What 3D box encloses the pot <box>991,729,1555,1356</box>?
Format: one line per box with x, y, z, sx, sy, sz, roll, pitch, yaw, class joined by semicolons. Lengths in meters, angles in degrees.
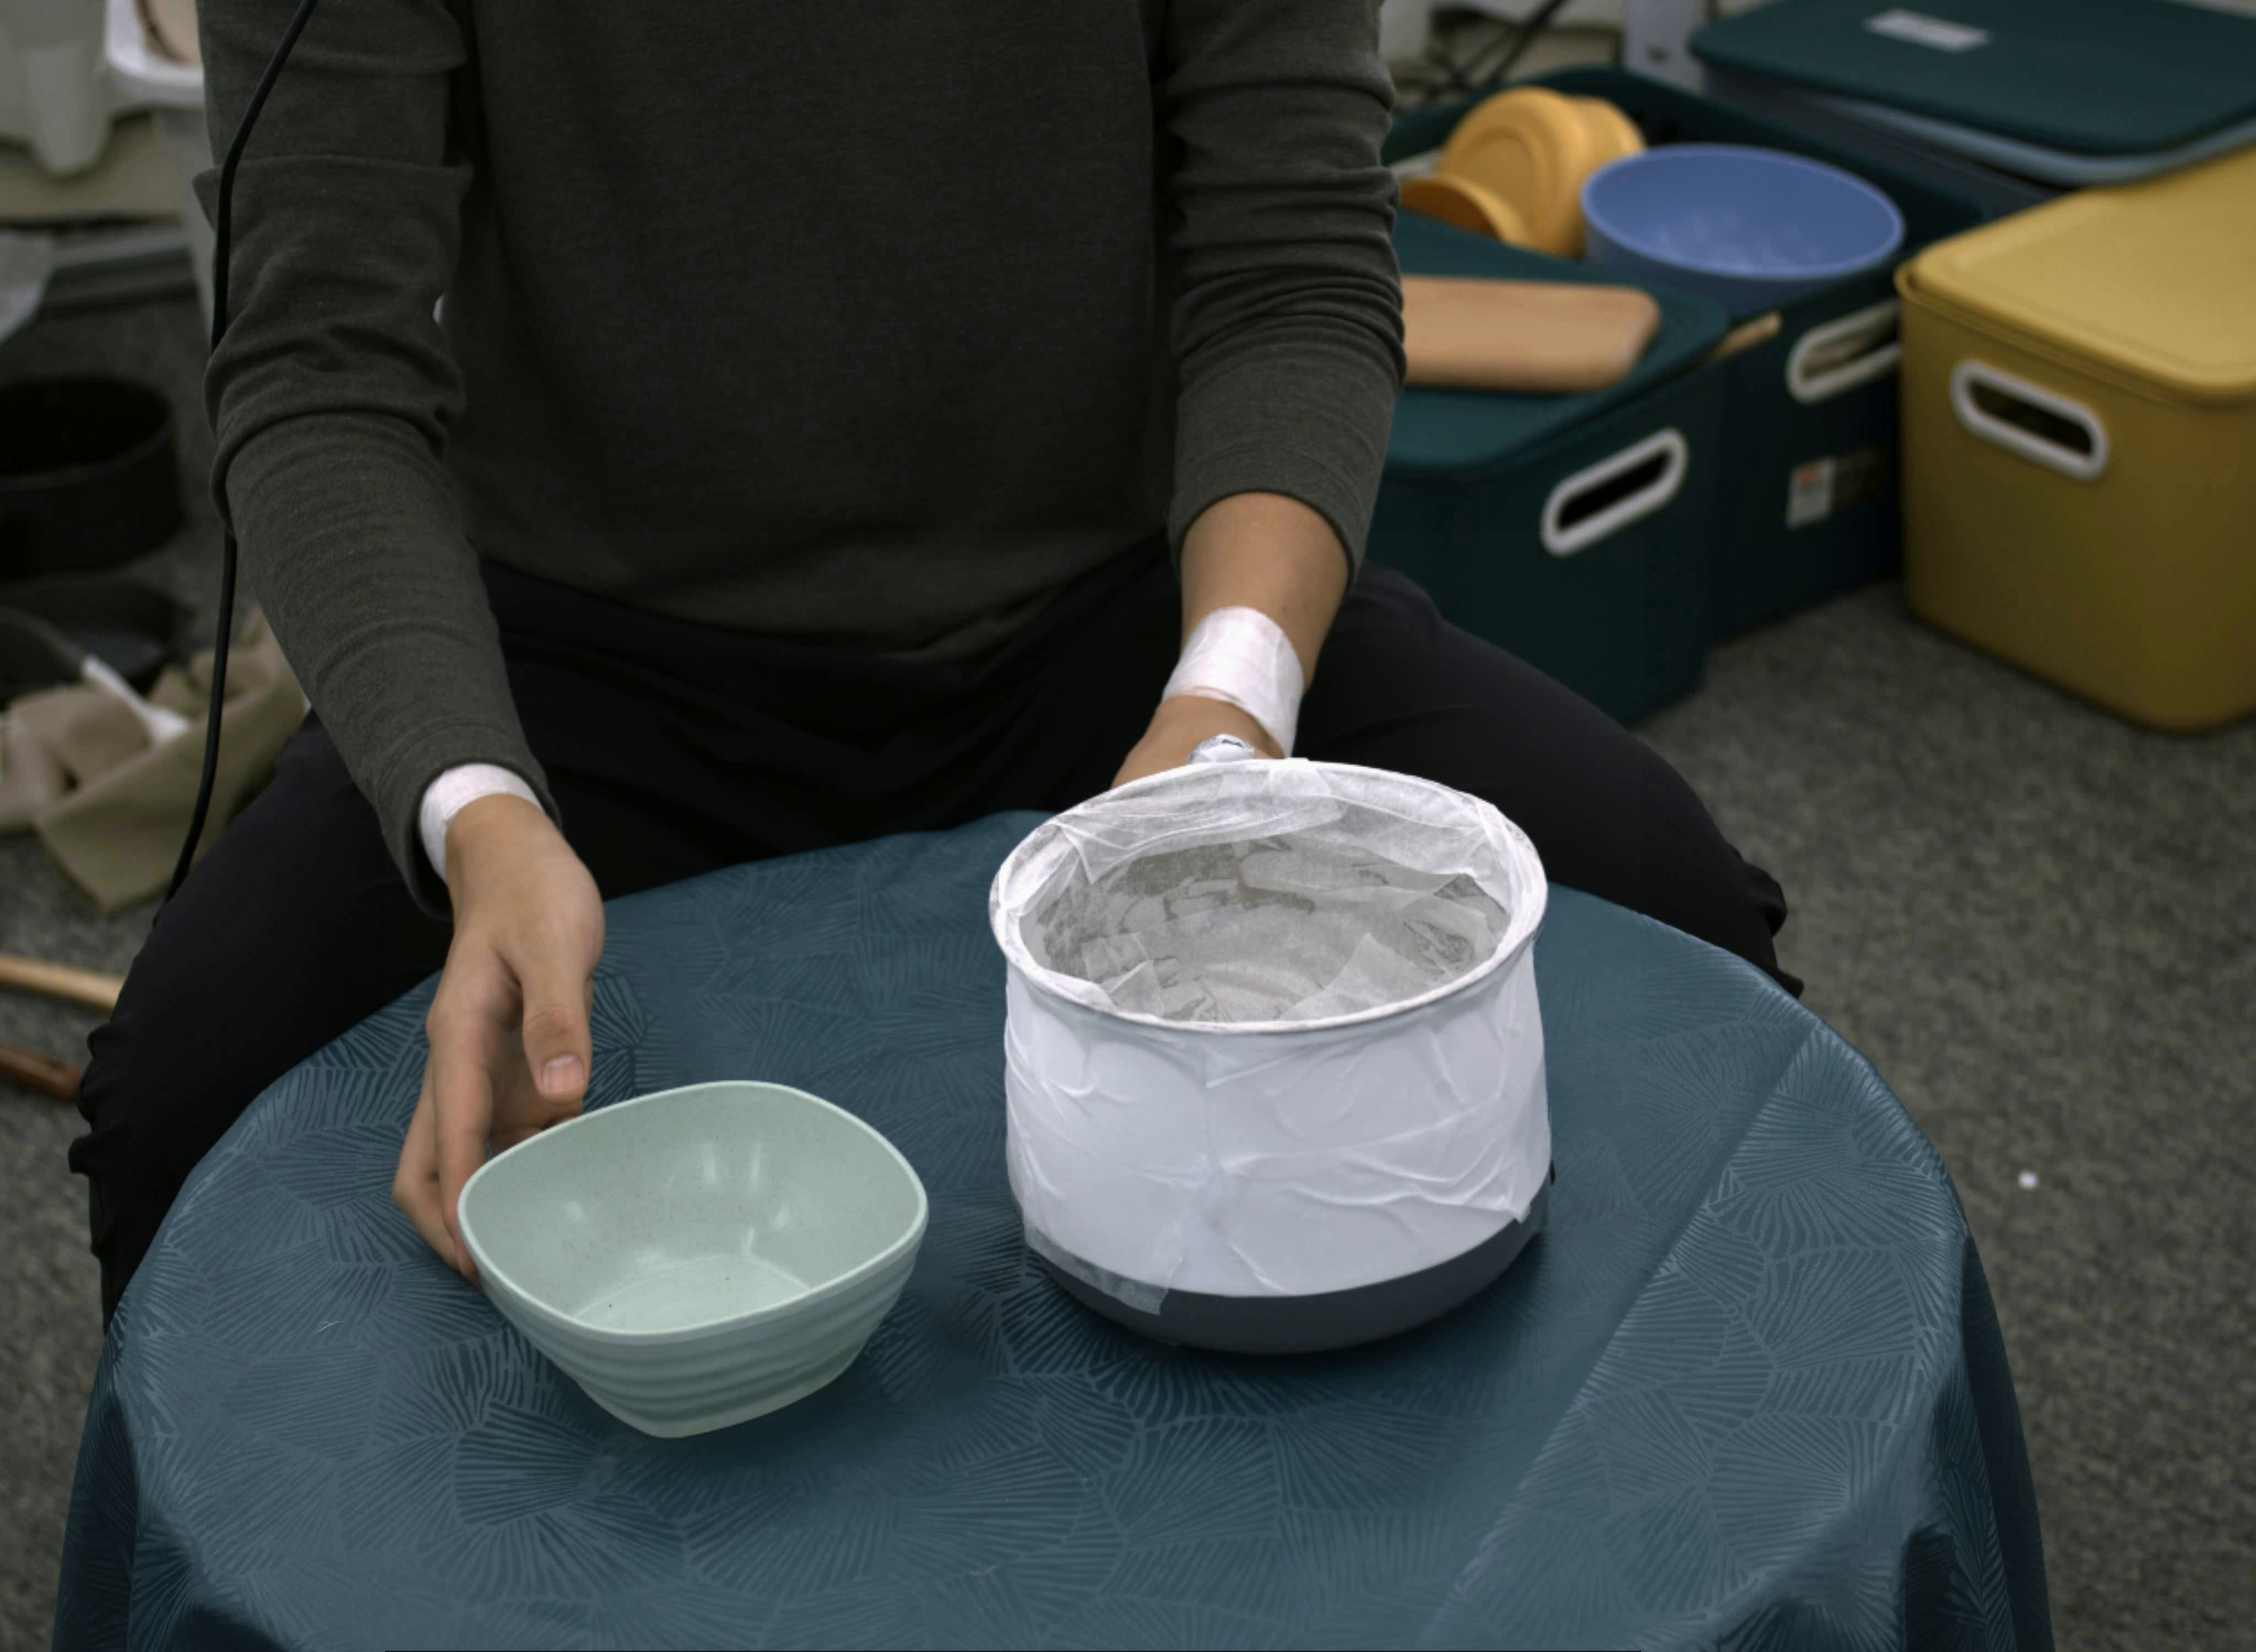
0.044;0.062;1.824;0.178;0.135;0.237;-6;27;-6;pot

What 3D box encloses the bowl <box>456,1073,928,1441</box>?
-0.136;0.143;1.772;0.151;0.058;0.154;-2;29;1;bowl
